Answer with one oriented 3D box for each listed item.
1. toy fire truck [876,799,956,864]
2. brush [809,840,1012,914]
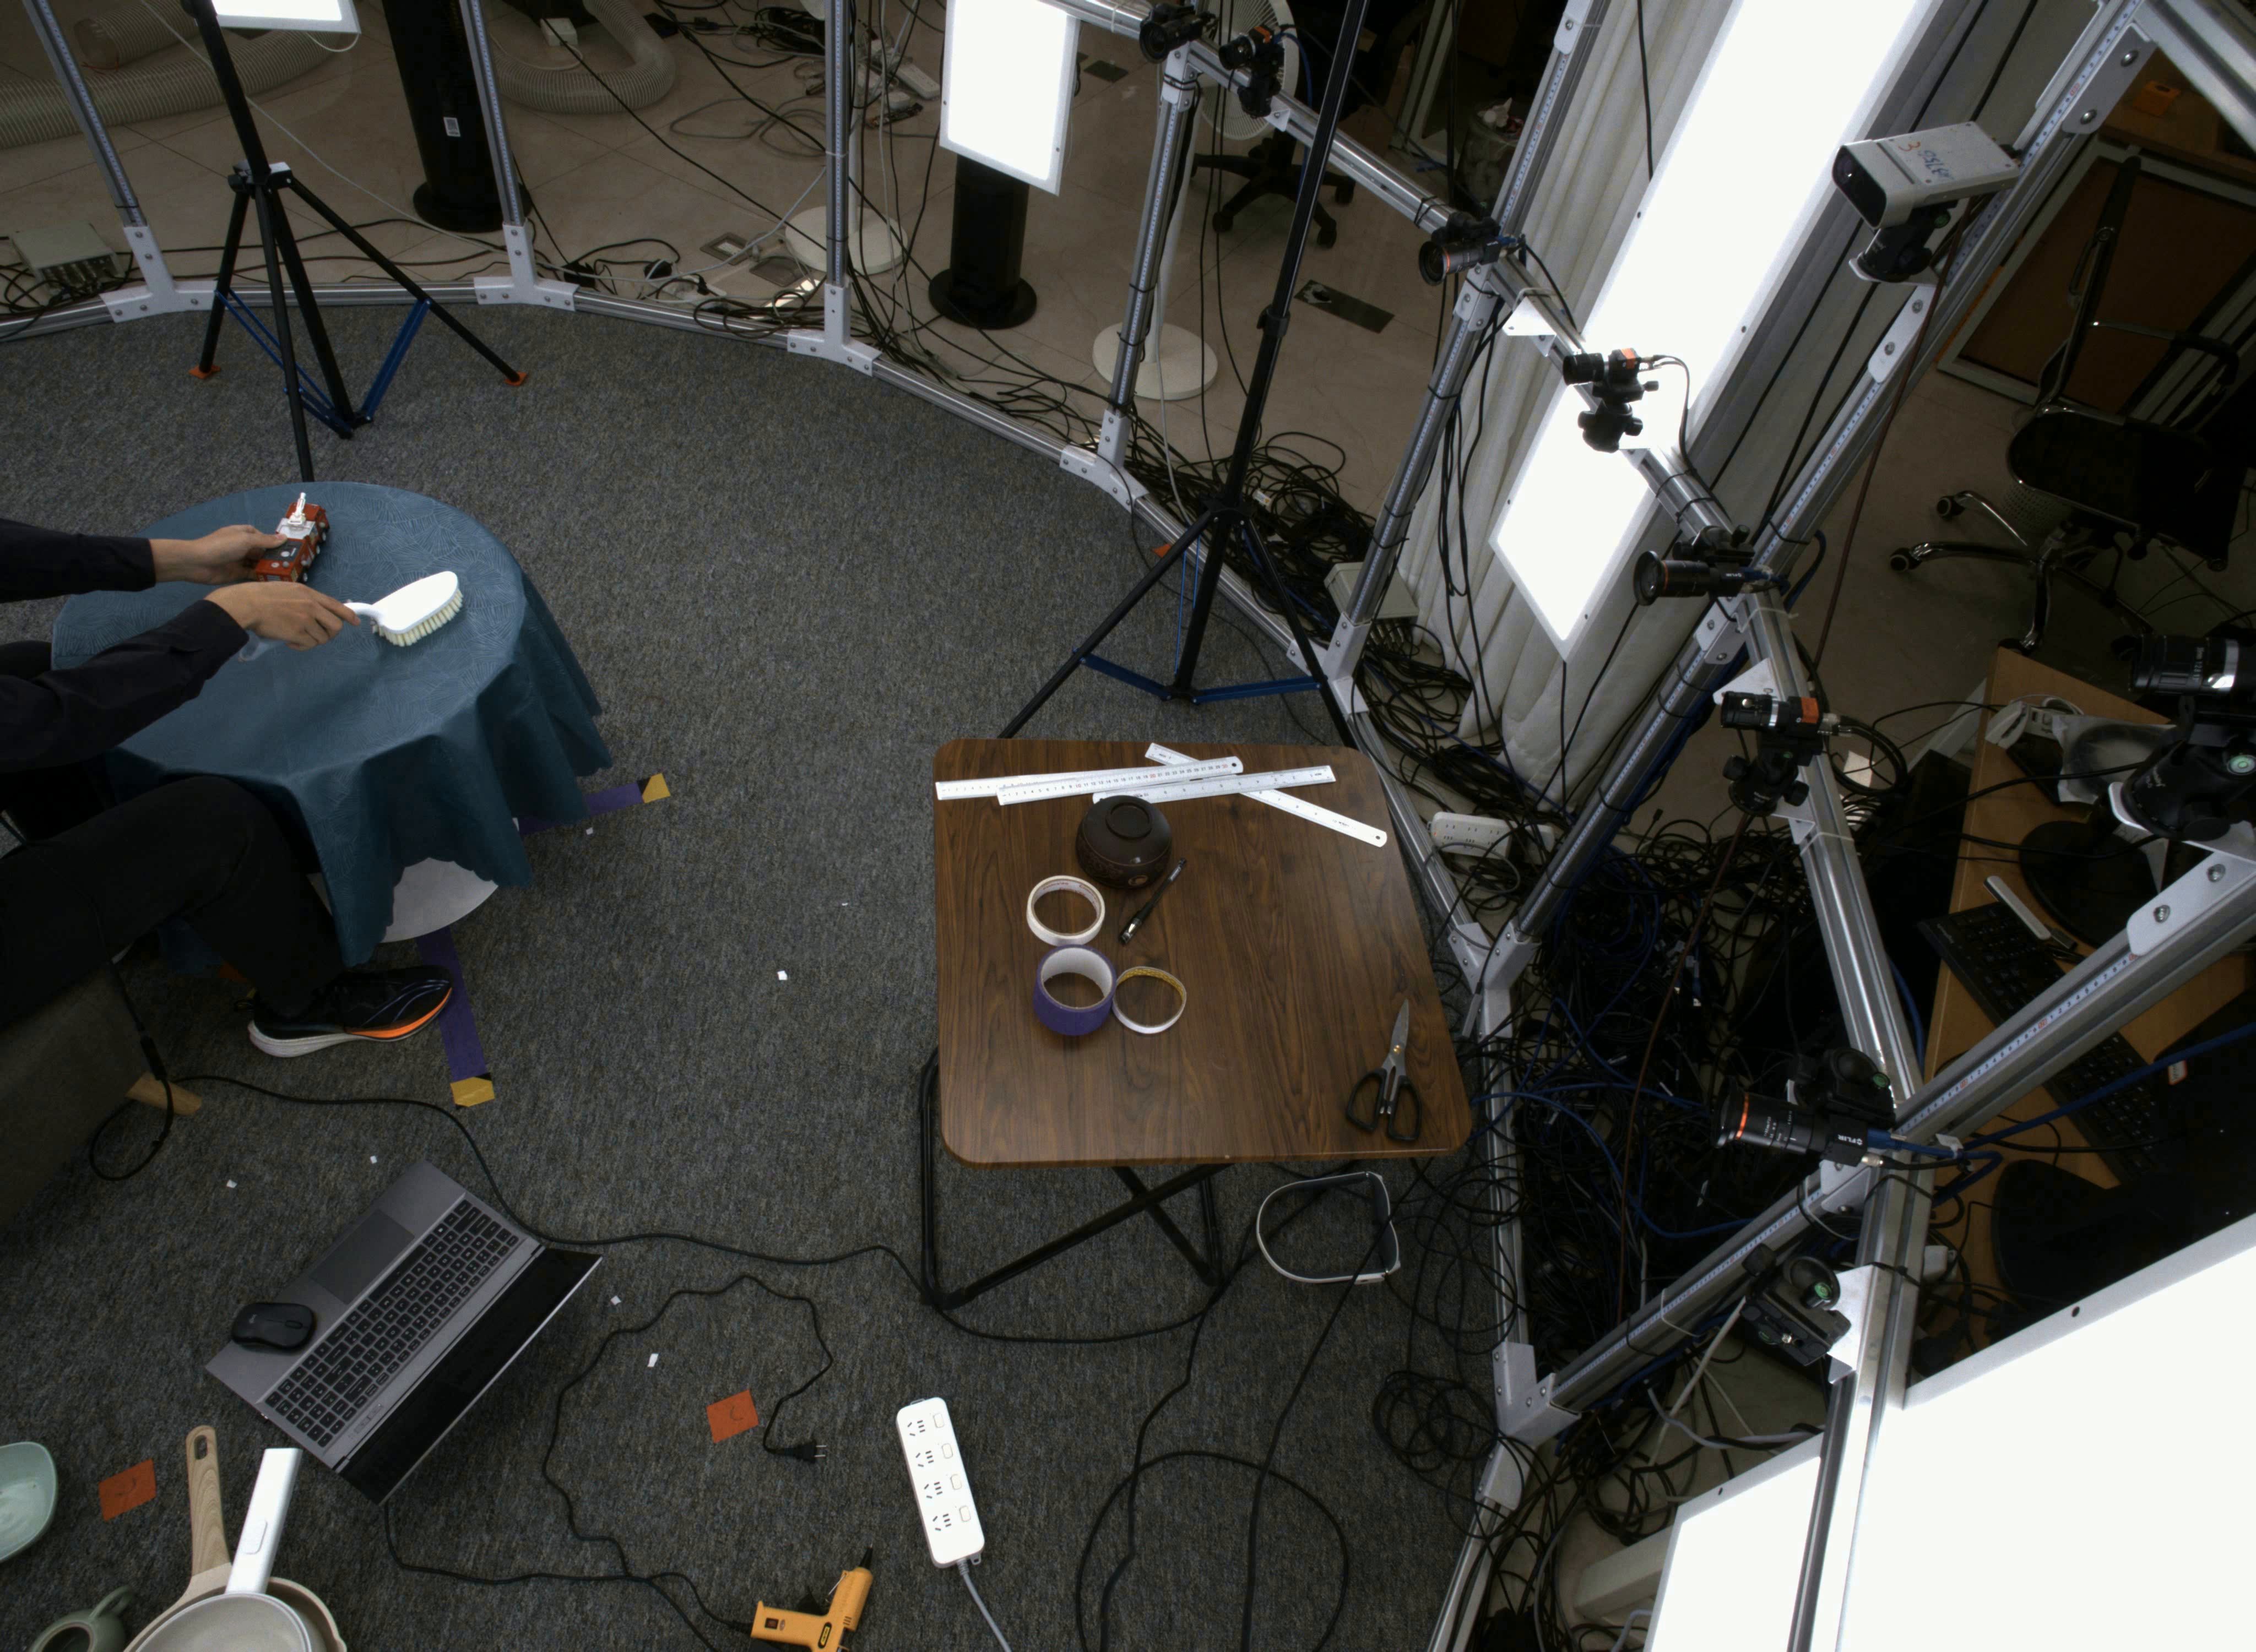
[{"bbox_3d":[-0.349,0.010,2.153,0.052,0.072,0.168,20,27,22],"label":"toy fire truck"},{"bbox_3d":[-0.326,0.085,1.955,0.331,0.084,0.081,9,-17,-32],"label":"brush"}]
